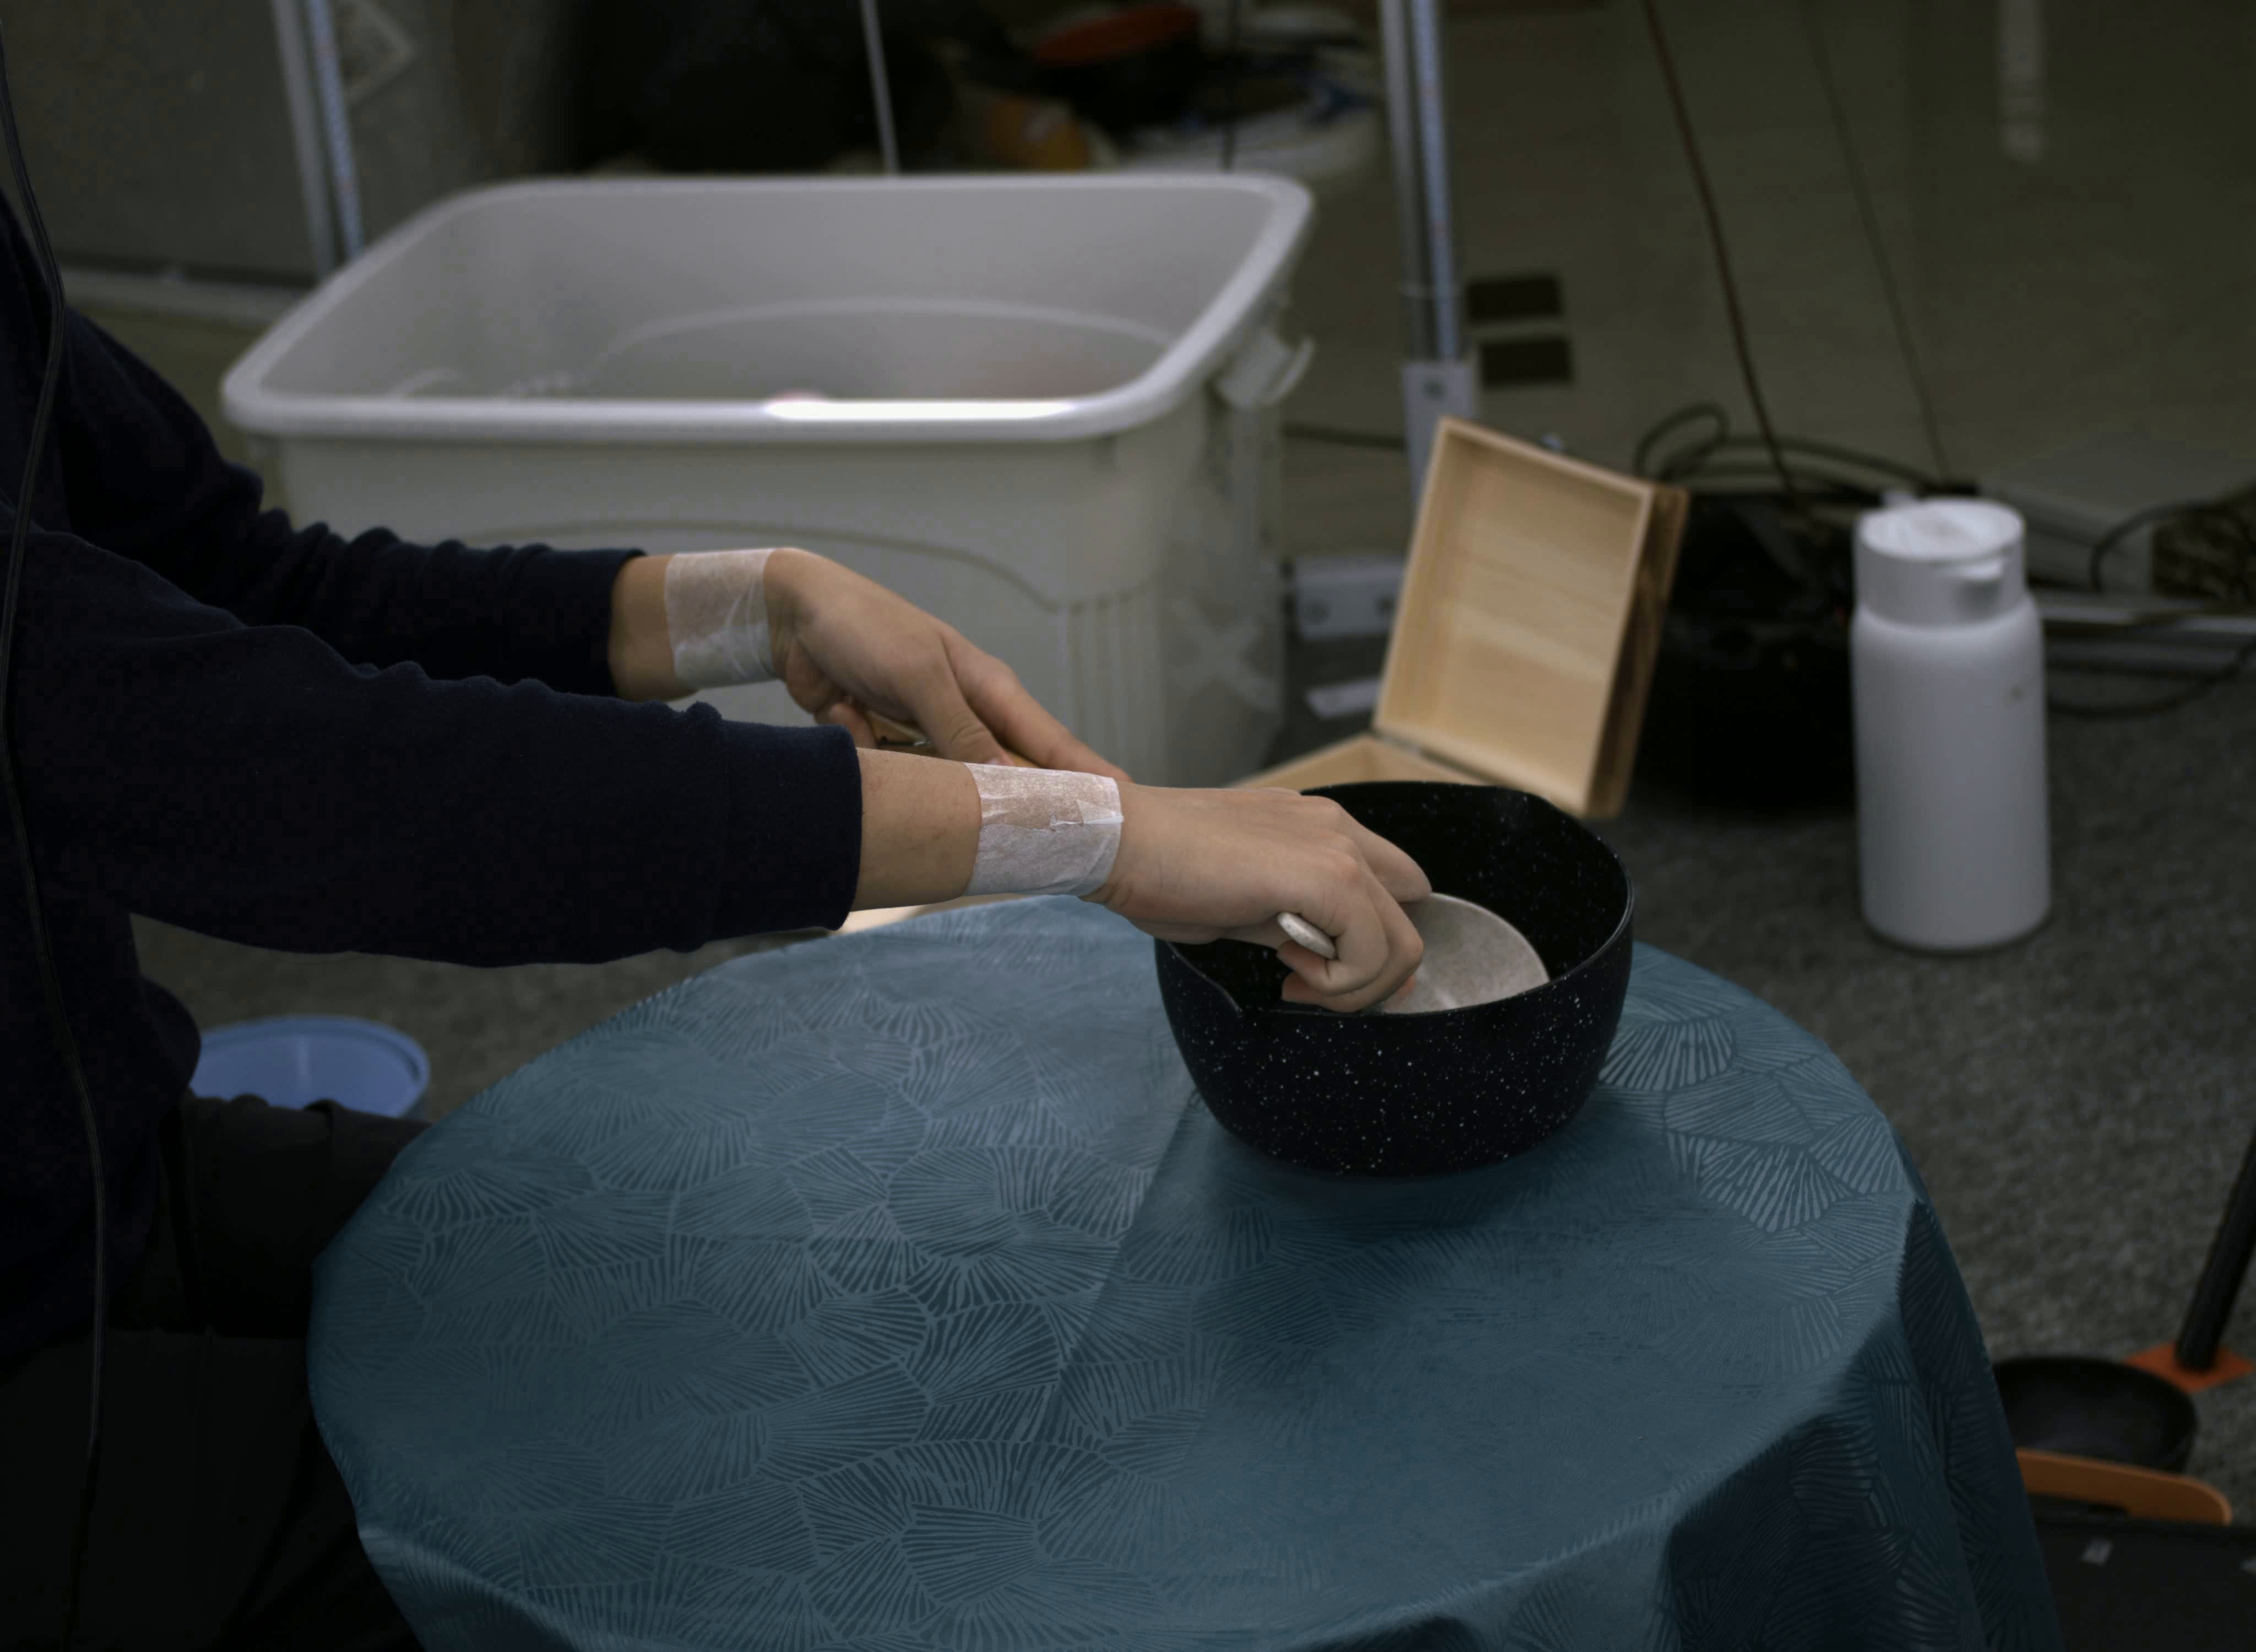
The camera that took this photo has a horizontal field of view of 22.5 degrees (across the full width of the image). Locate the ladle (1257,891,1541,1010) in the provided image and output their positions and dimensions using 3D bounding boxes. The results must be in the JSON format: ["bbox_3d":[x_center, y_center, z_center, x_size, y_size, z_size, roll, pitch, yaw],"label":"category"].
[{"bbox_3d":[0.101,0.040,2.081,0.069,0.277,0.088,-40,74,2],"label":"ladle"}]

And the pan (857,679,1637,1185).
[{"bbox_3d":[0.036,0.033,2.206,0.340,0.110,0.205,17,36,29],"label":"pan"}]
